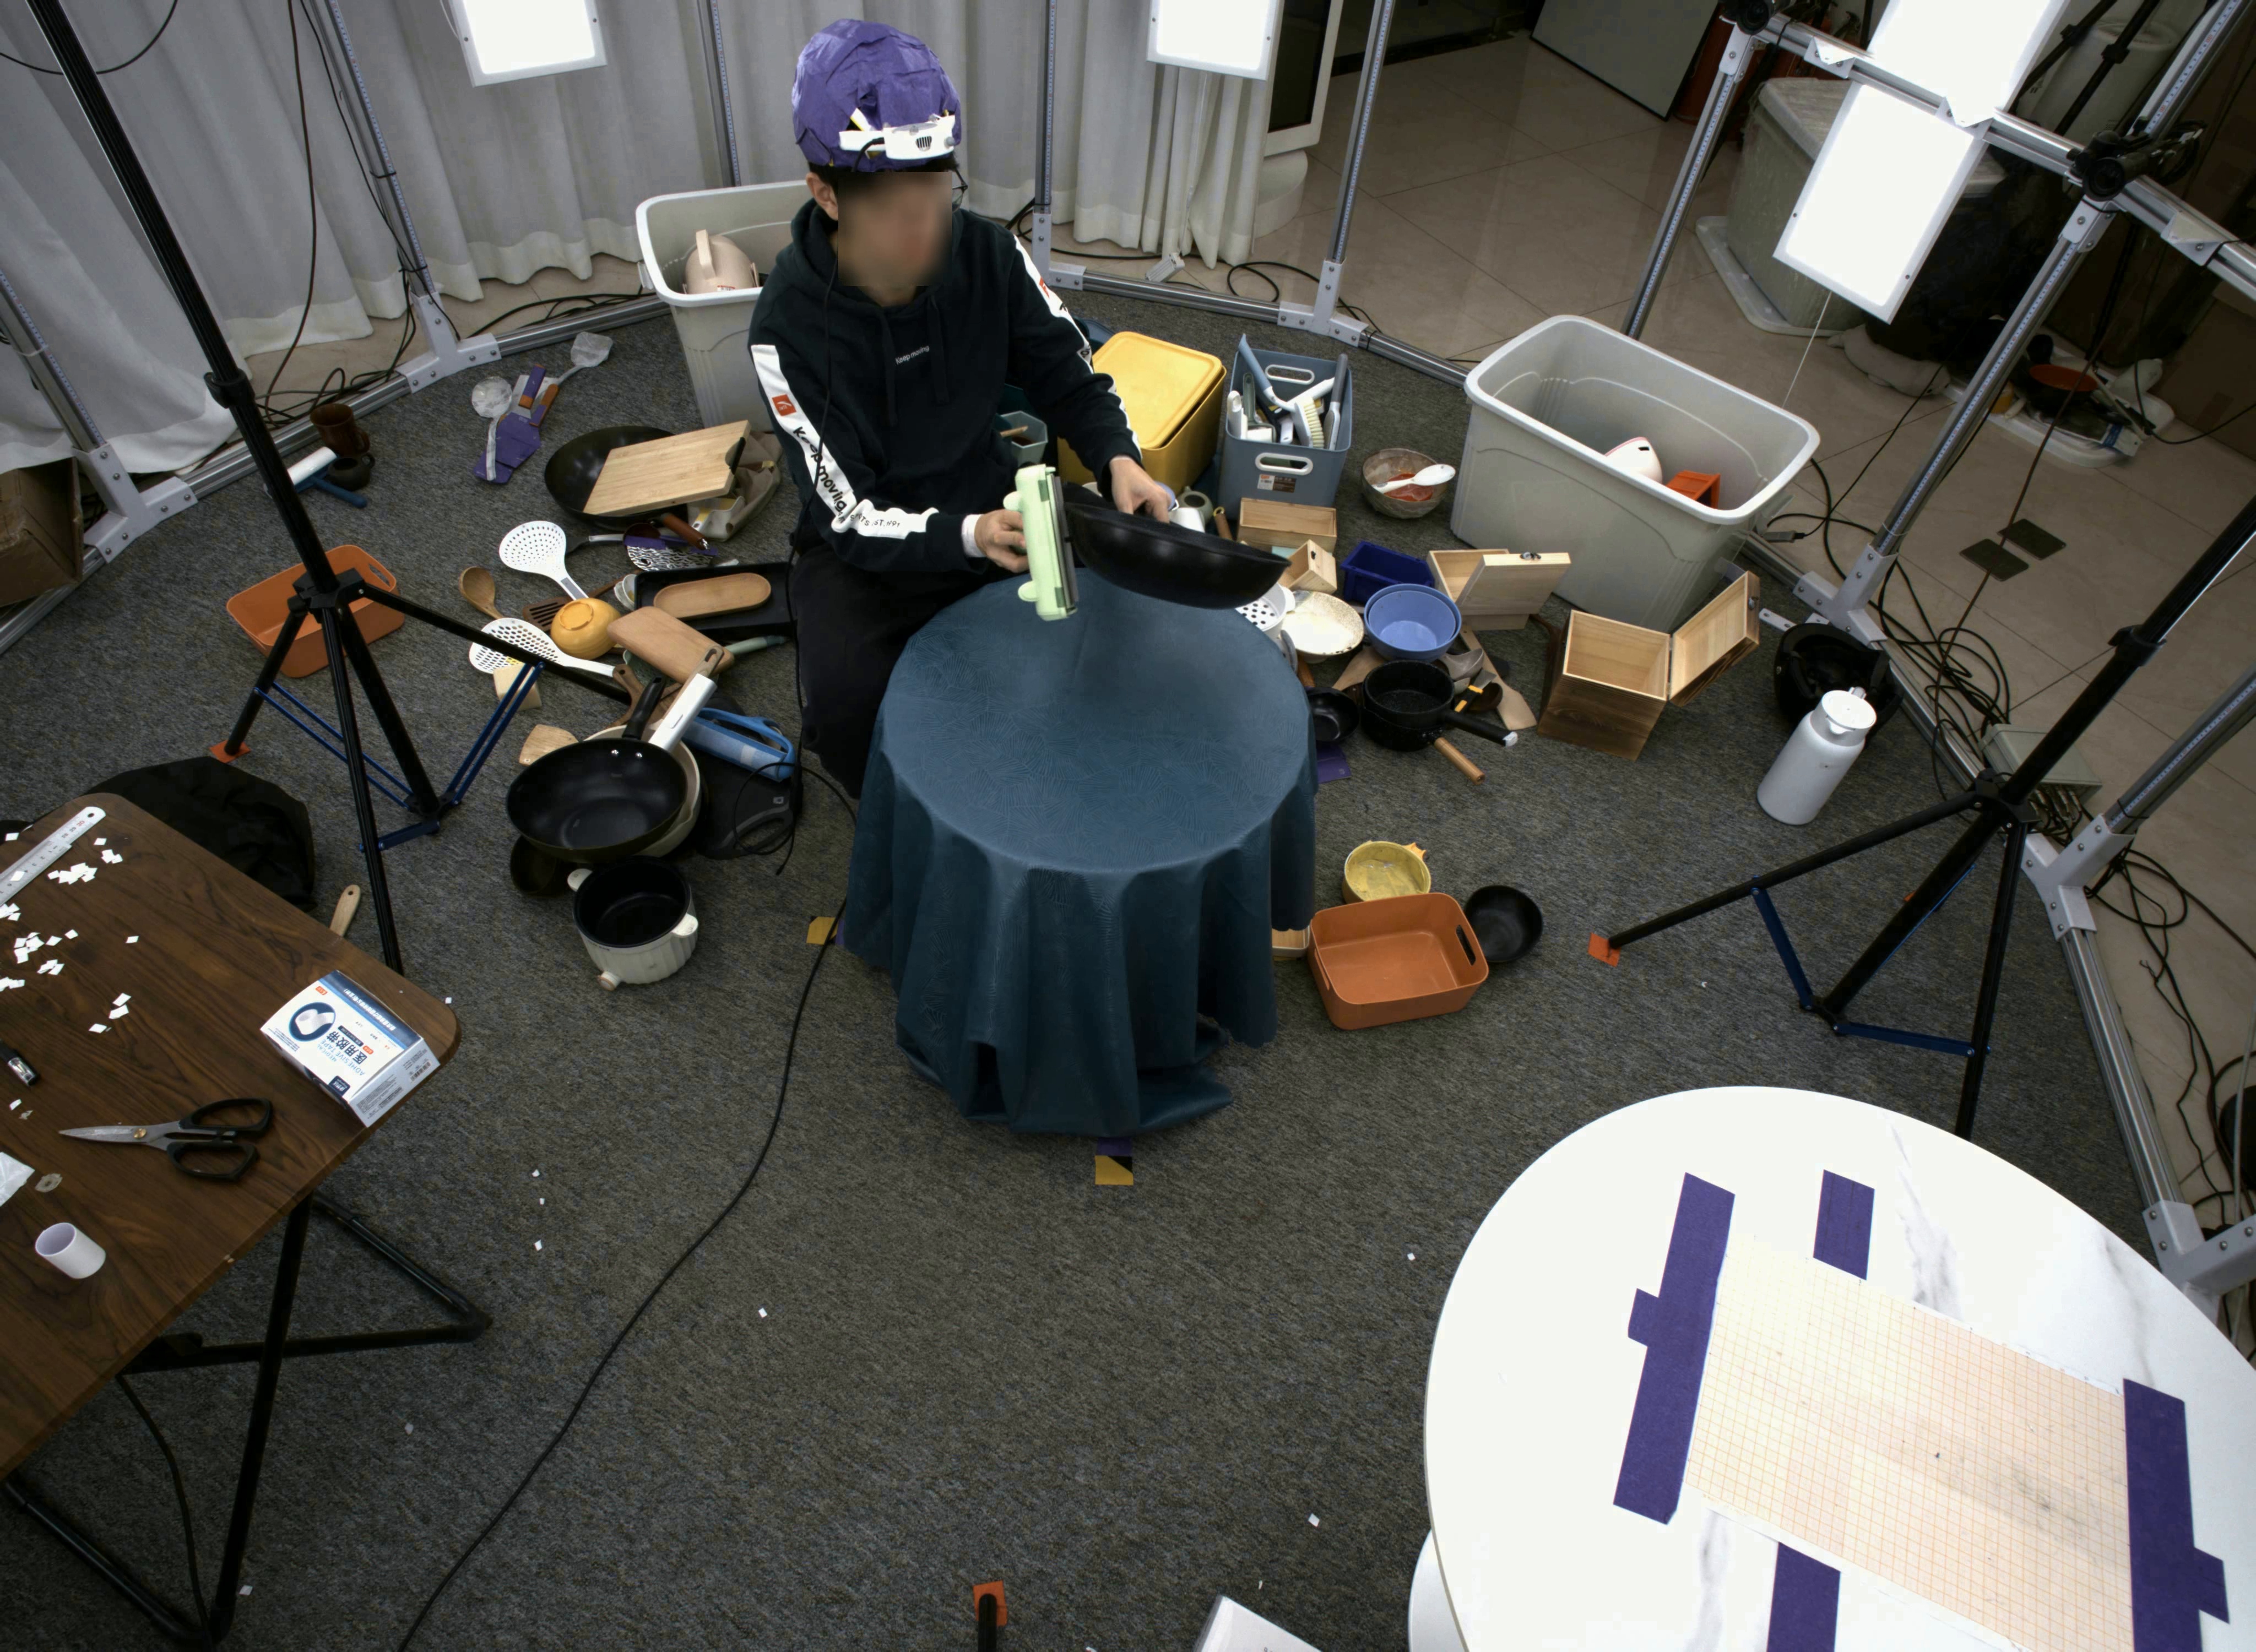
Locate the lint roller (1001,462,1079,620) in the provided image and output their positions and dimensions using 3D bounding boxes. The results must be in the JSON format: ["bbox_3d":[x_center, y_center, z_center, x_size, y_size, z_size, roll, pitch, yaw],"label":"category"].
[{"bbox_3d":[-0.142,-0.376,1.711,0.082,0.196,0.185,-19,19,-30],"label":"lint roller"}]

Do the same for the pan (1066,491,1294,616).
[{"bbox_3d":[0.042,-0.380,1.762,0.308,0.110,0.484,12,16,-18],"label":"pan"}]
